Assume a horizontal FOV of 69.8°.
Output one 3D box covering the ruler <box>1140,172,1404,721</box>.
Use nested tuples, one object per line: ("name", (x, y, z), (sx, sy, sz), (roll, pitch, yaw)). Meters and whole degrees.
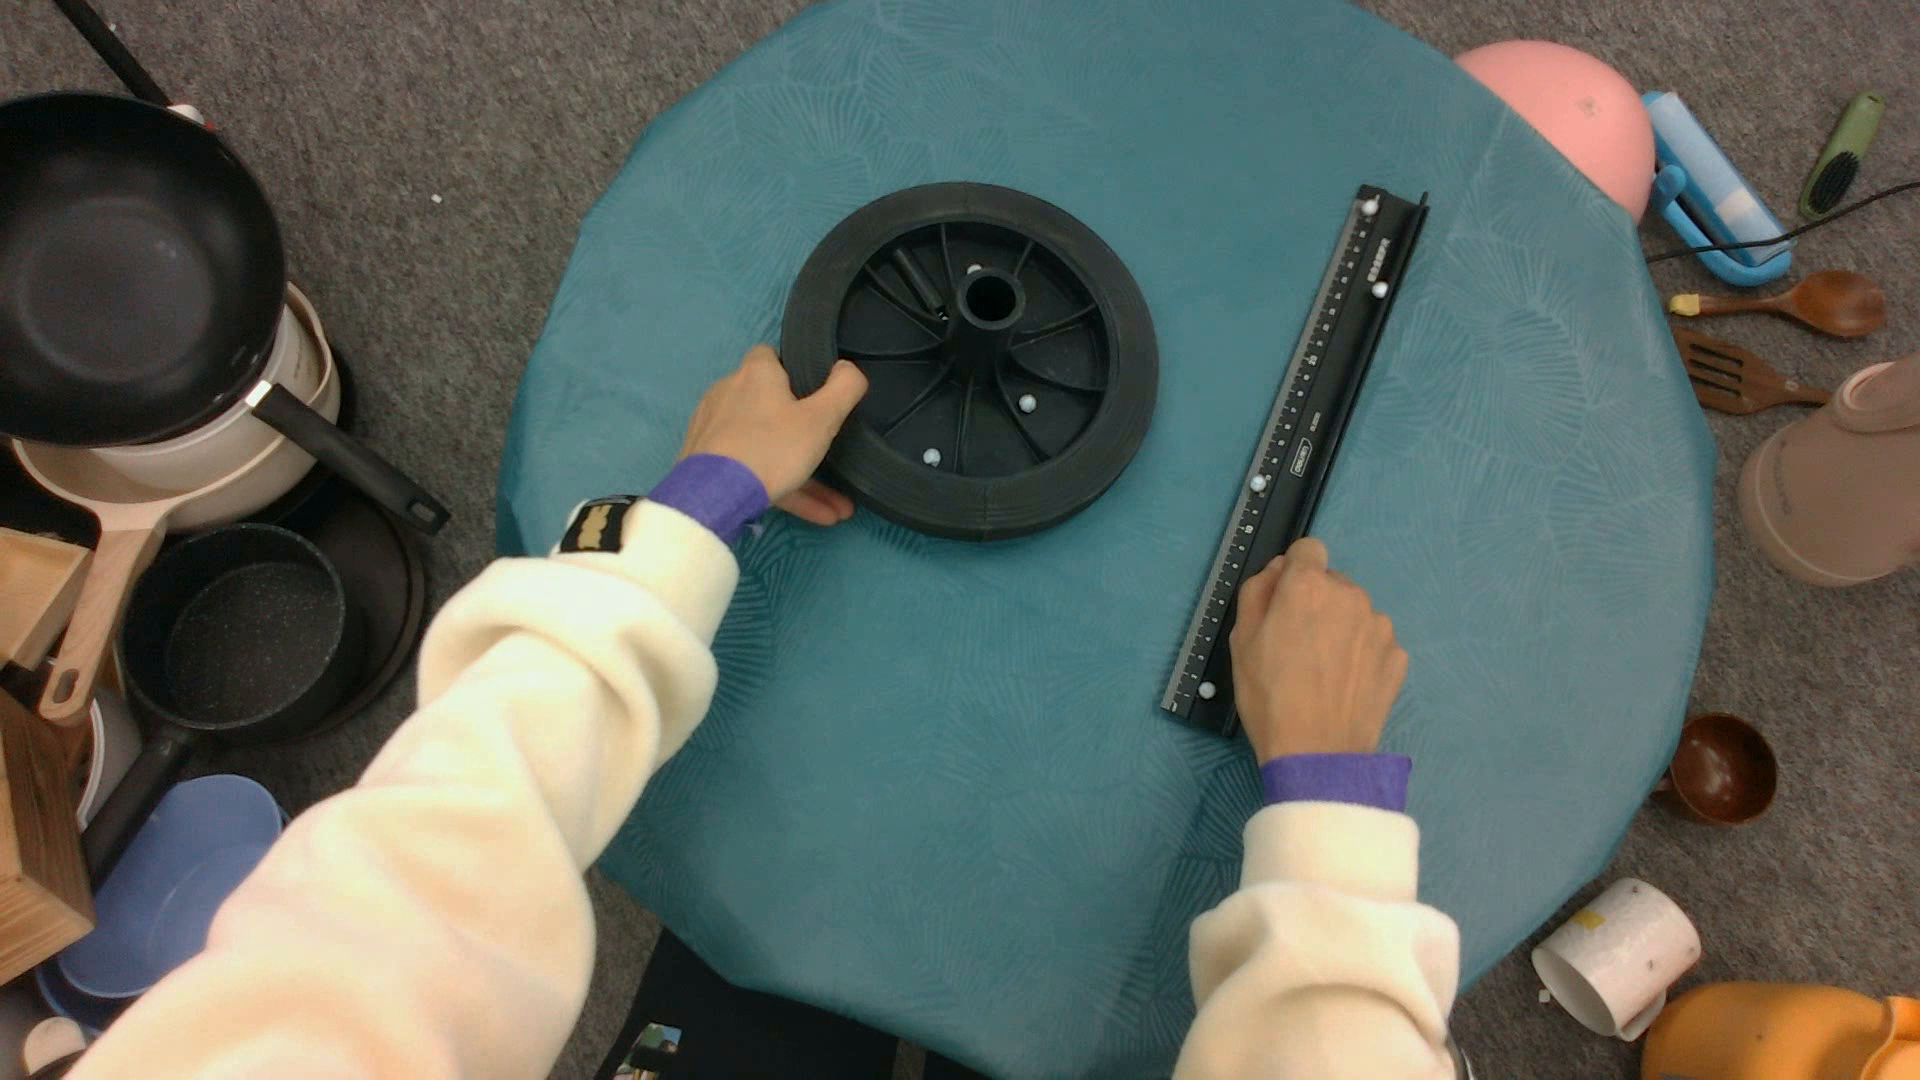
("ruler", (0.162, -0.059, 0.688), (0.039, 0.017, 0.313), (24, 72, 2))

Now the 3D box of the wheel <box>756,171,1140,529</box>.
("wheel", (-0.002, -0.103, 0.658), (0.190, 0.079, 0.188), (34, 71, 2))
